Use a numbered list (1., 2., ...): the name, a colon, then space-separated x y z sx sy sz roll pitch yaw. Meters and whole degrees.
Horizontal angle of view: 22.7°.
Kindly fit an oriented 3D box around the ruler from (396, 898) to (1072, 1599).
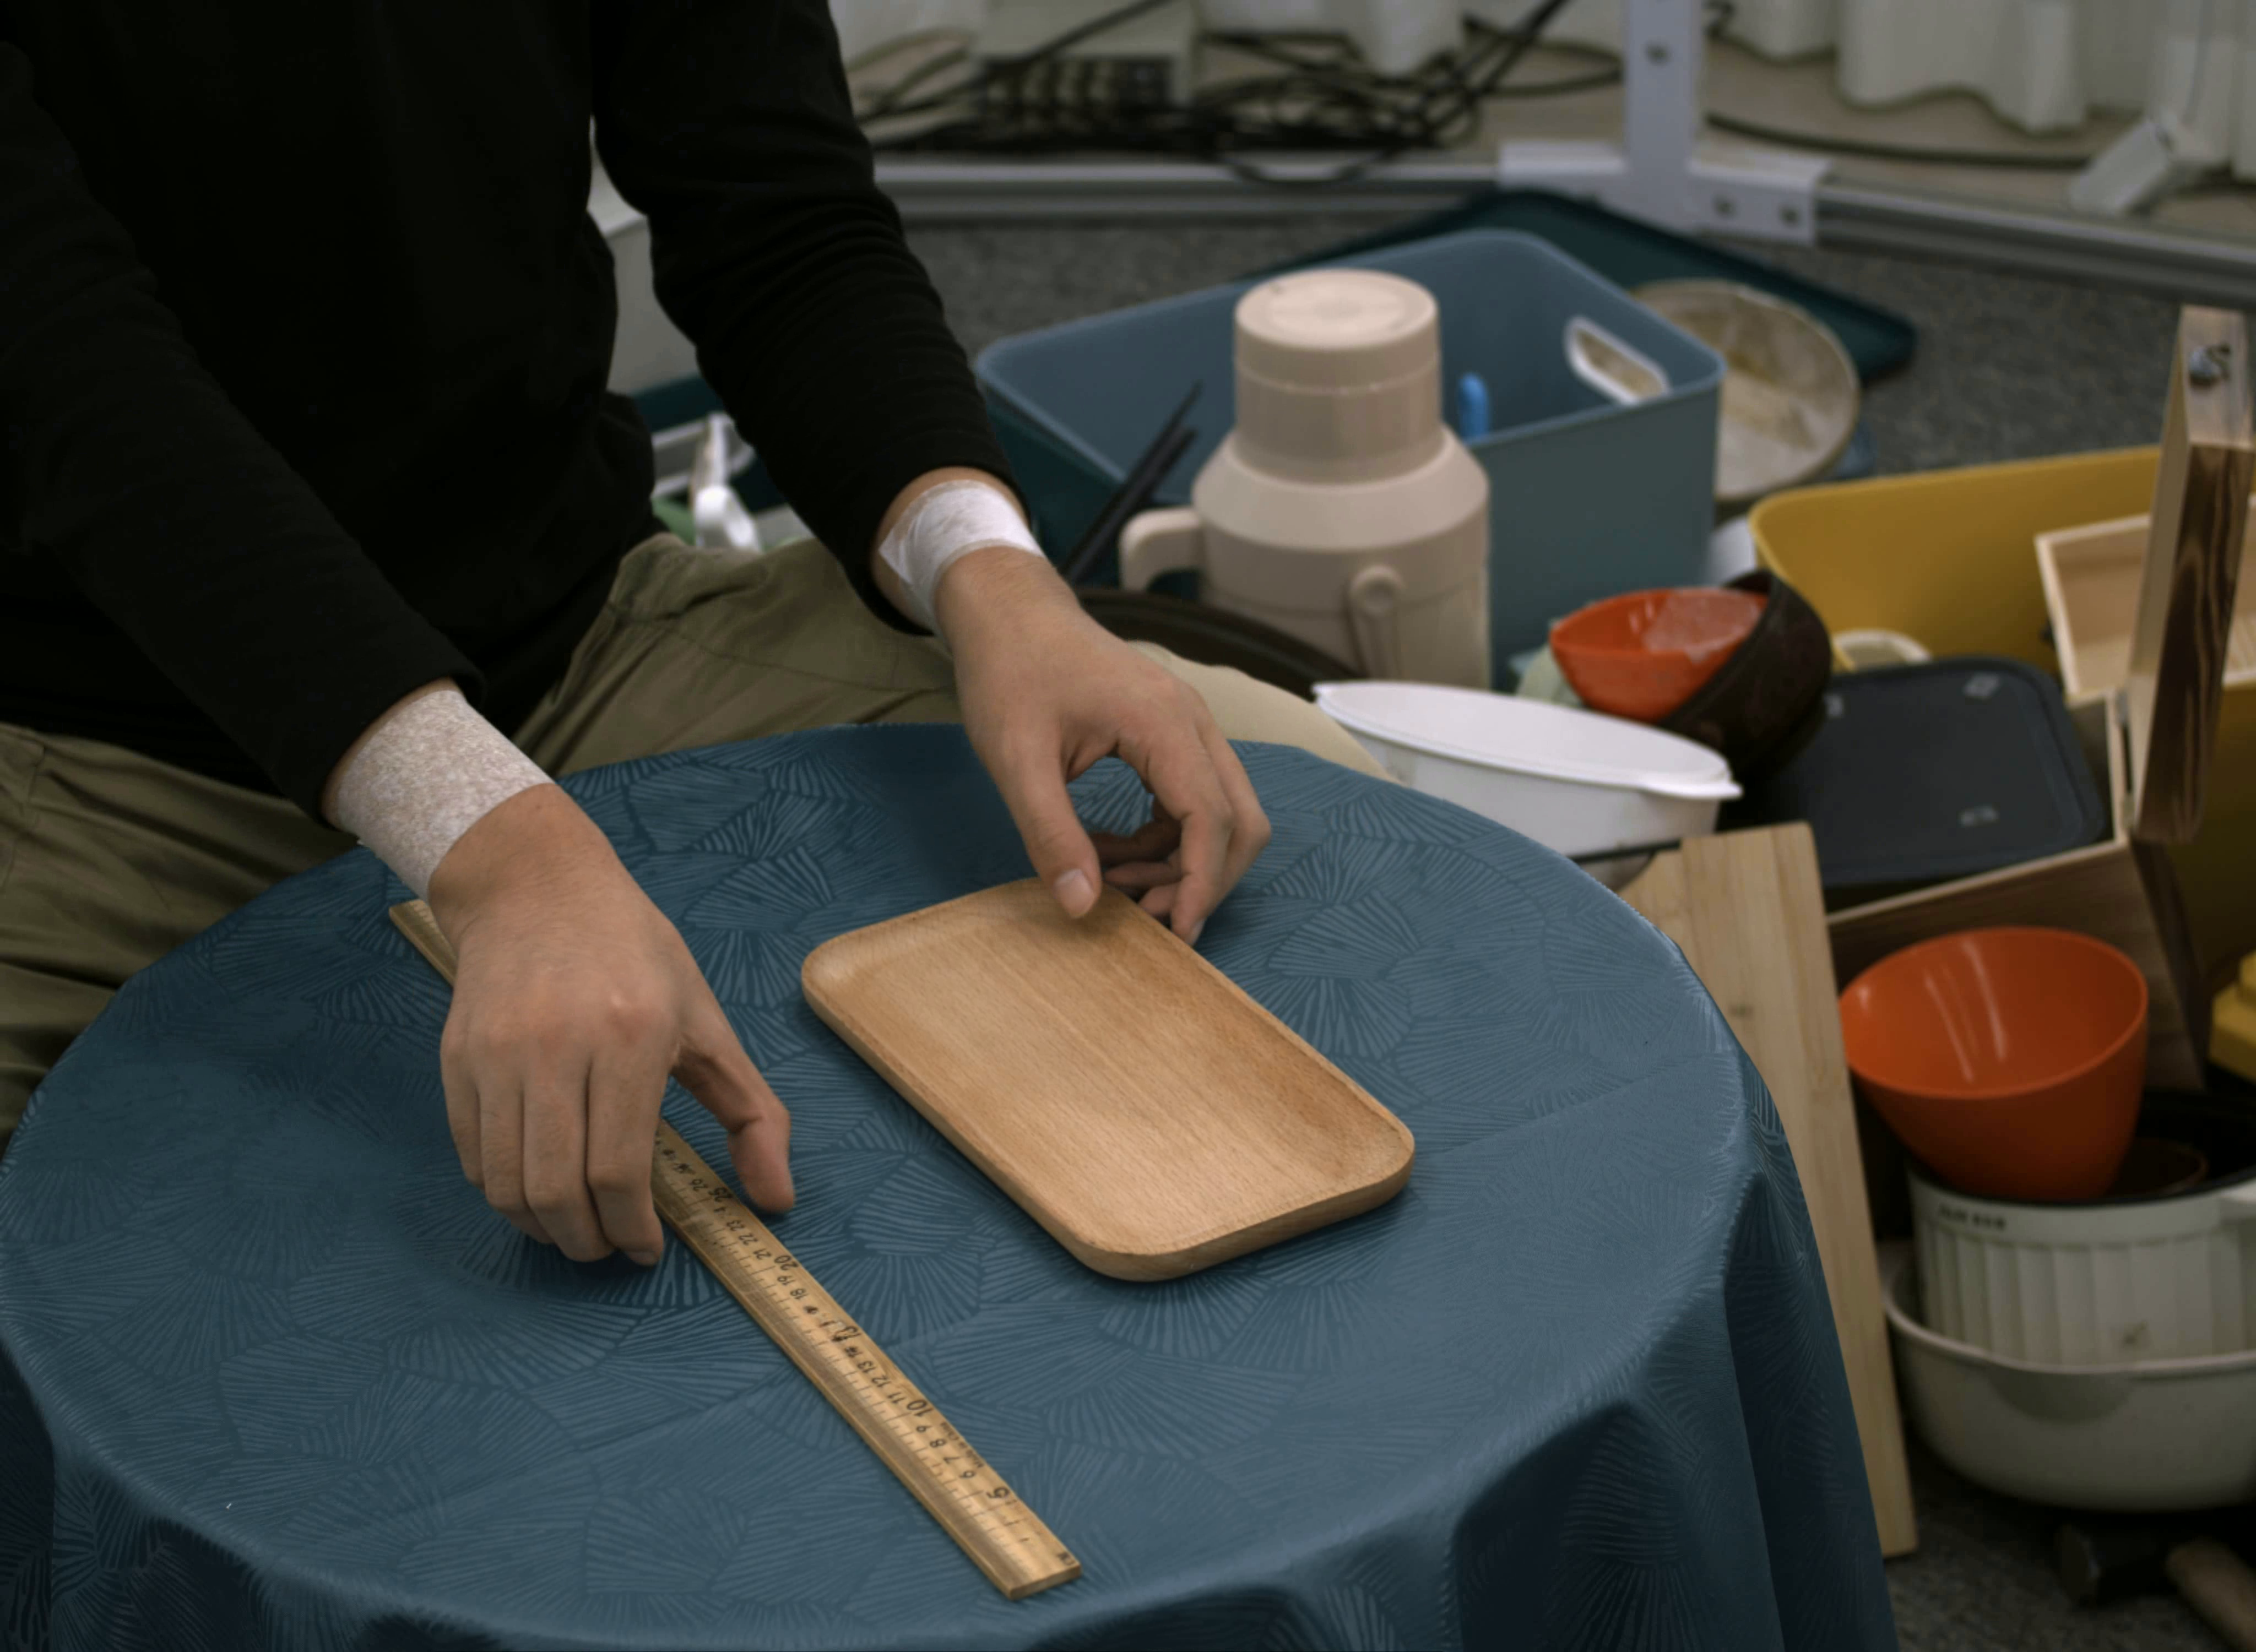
1. ruler: -0.141 0.127 1.859 0.027 0.006 0.503 -13 29 -24

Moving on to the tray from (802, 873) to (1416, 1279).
1. tray: -0.010 0.083 1.919 0.131 0.022 0.252 -14 28 -24
